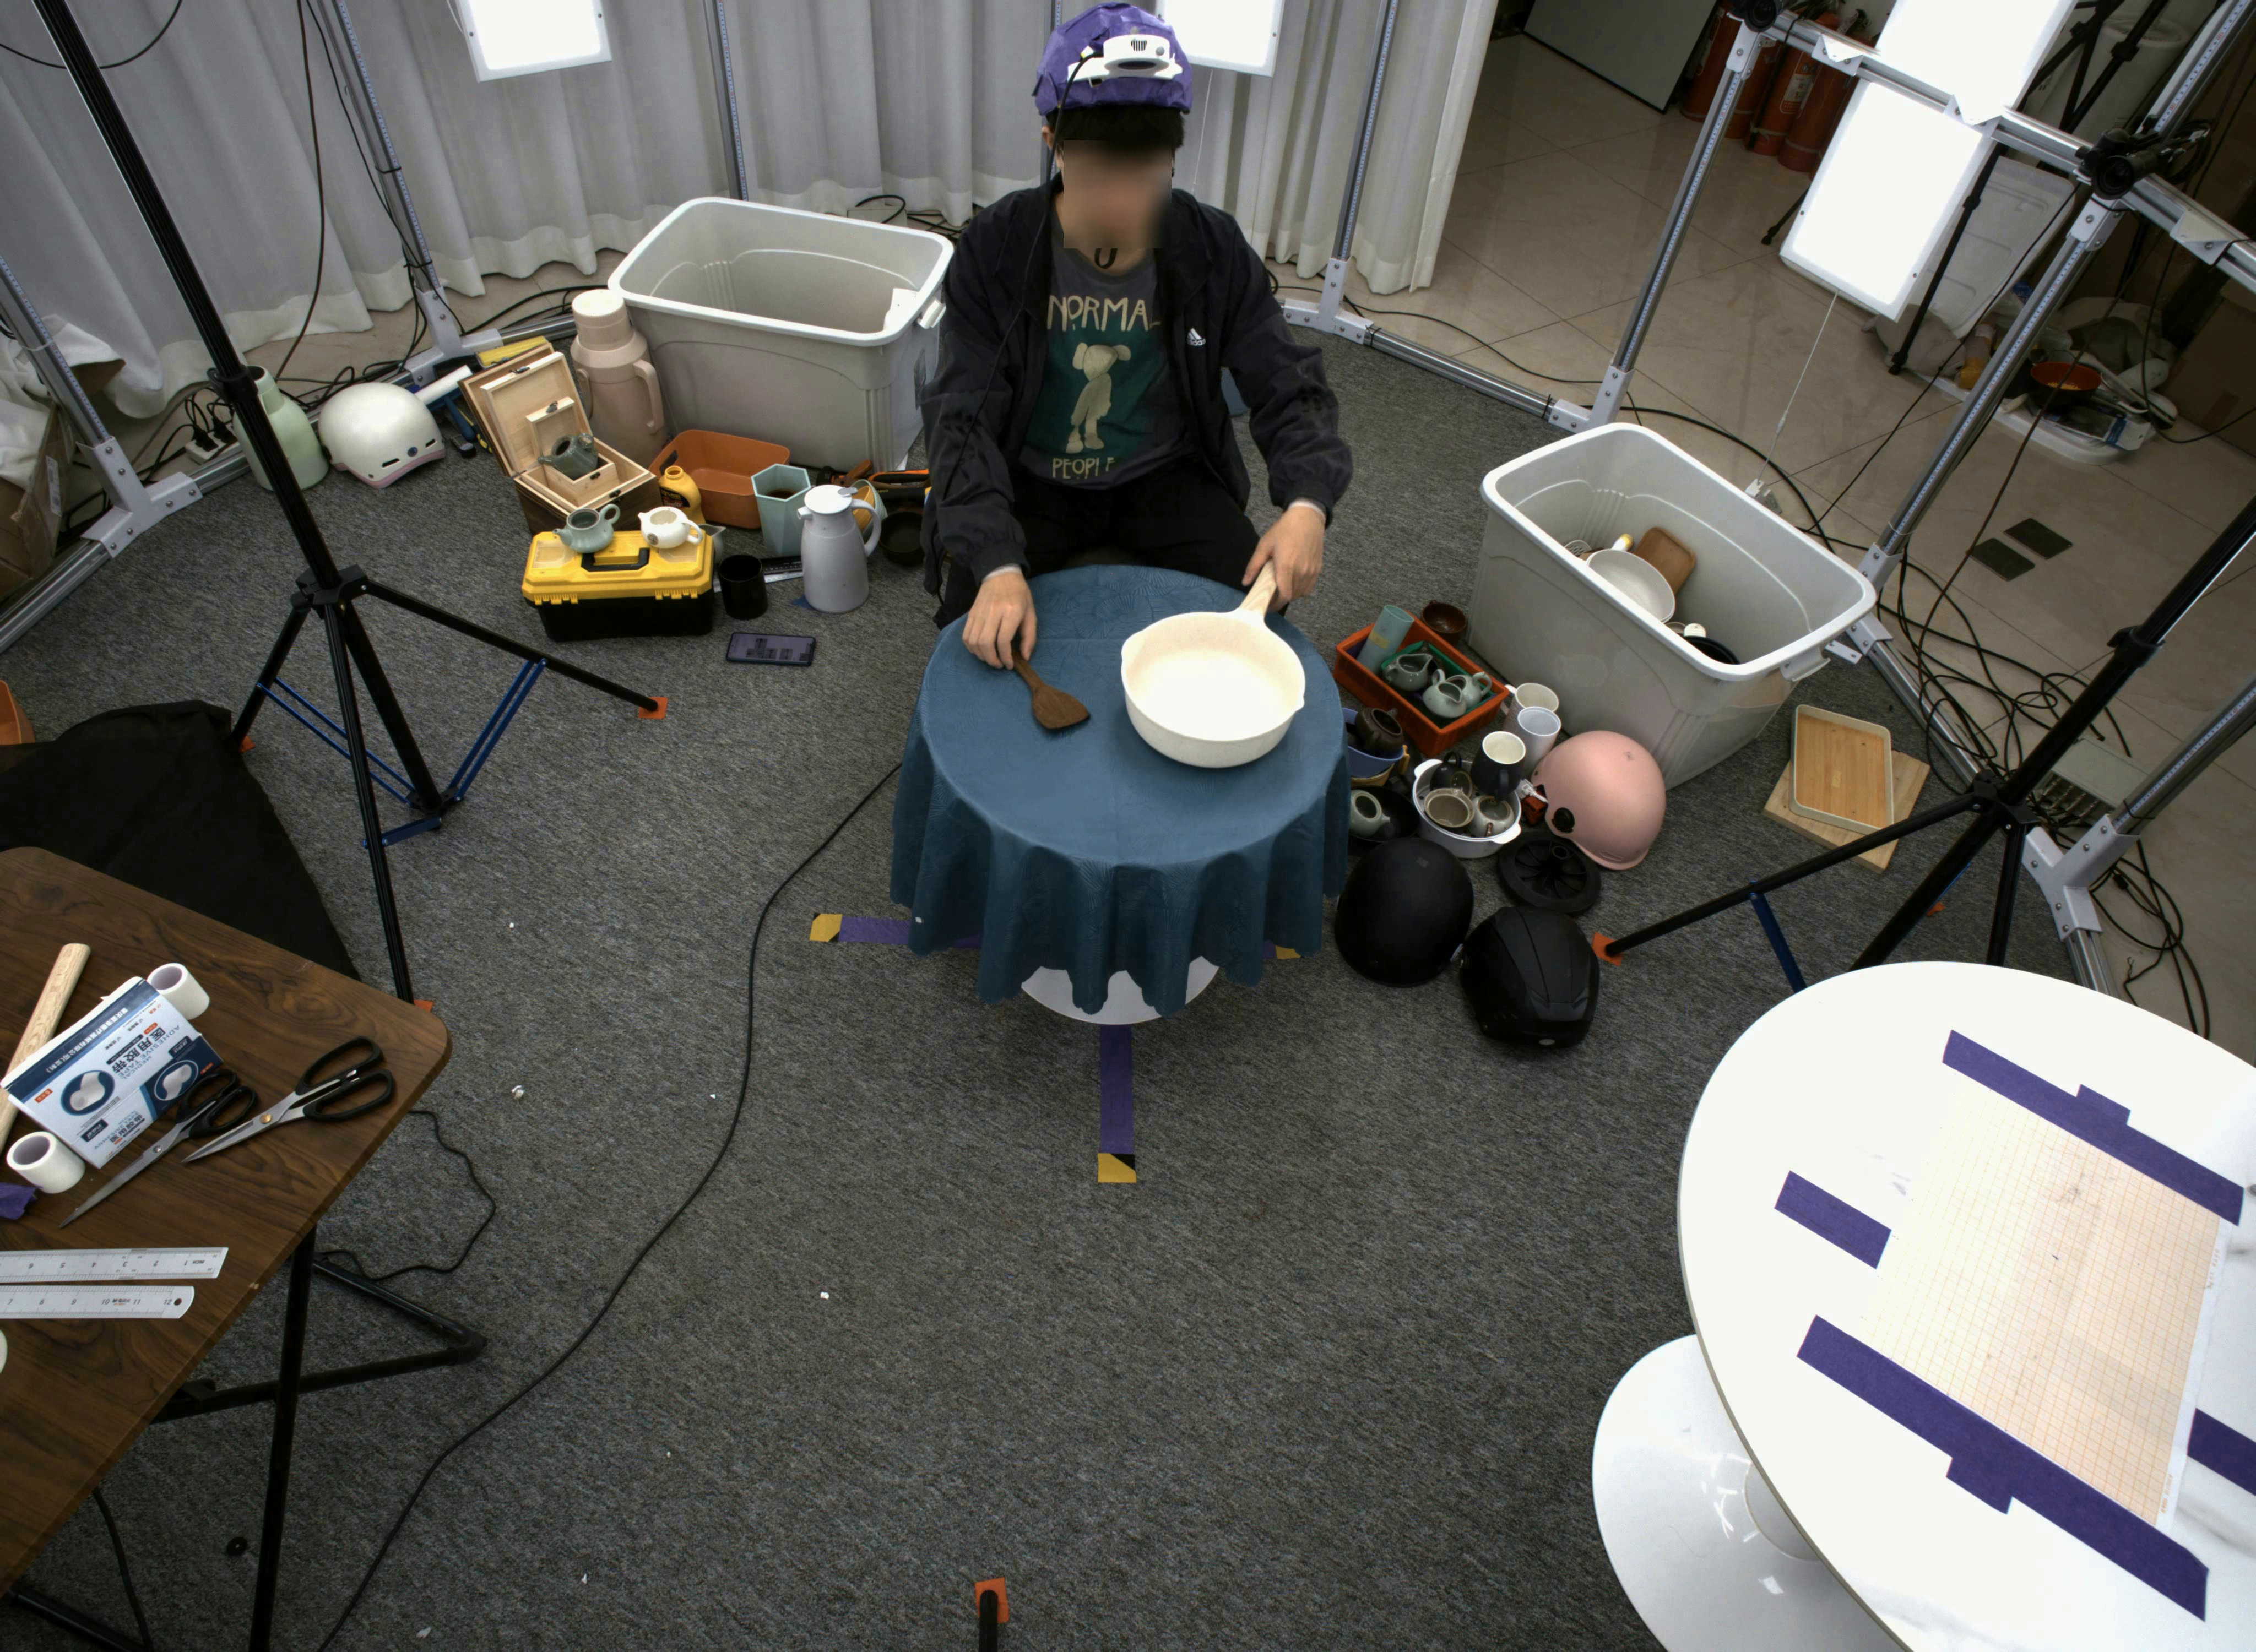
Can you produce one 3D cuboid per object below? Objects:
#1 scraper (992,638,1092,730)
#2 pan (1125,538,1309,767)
[{"bbox_3d":[-0.133,-0.206,1.831,0.076,0.010,0.215,-21,51,-26],"label":"scraper"},{"bbox_3d":[0.157,-0.250,1.831,0.265,0.099,0.443,19,50,15],"label":"pan"}]
